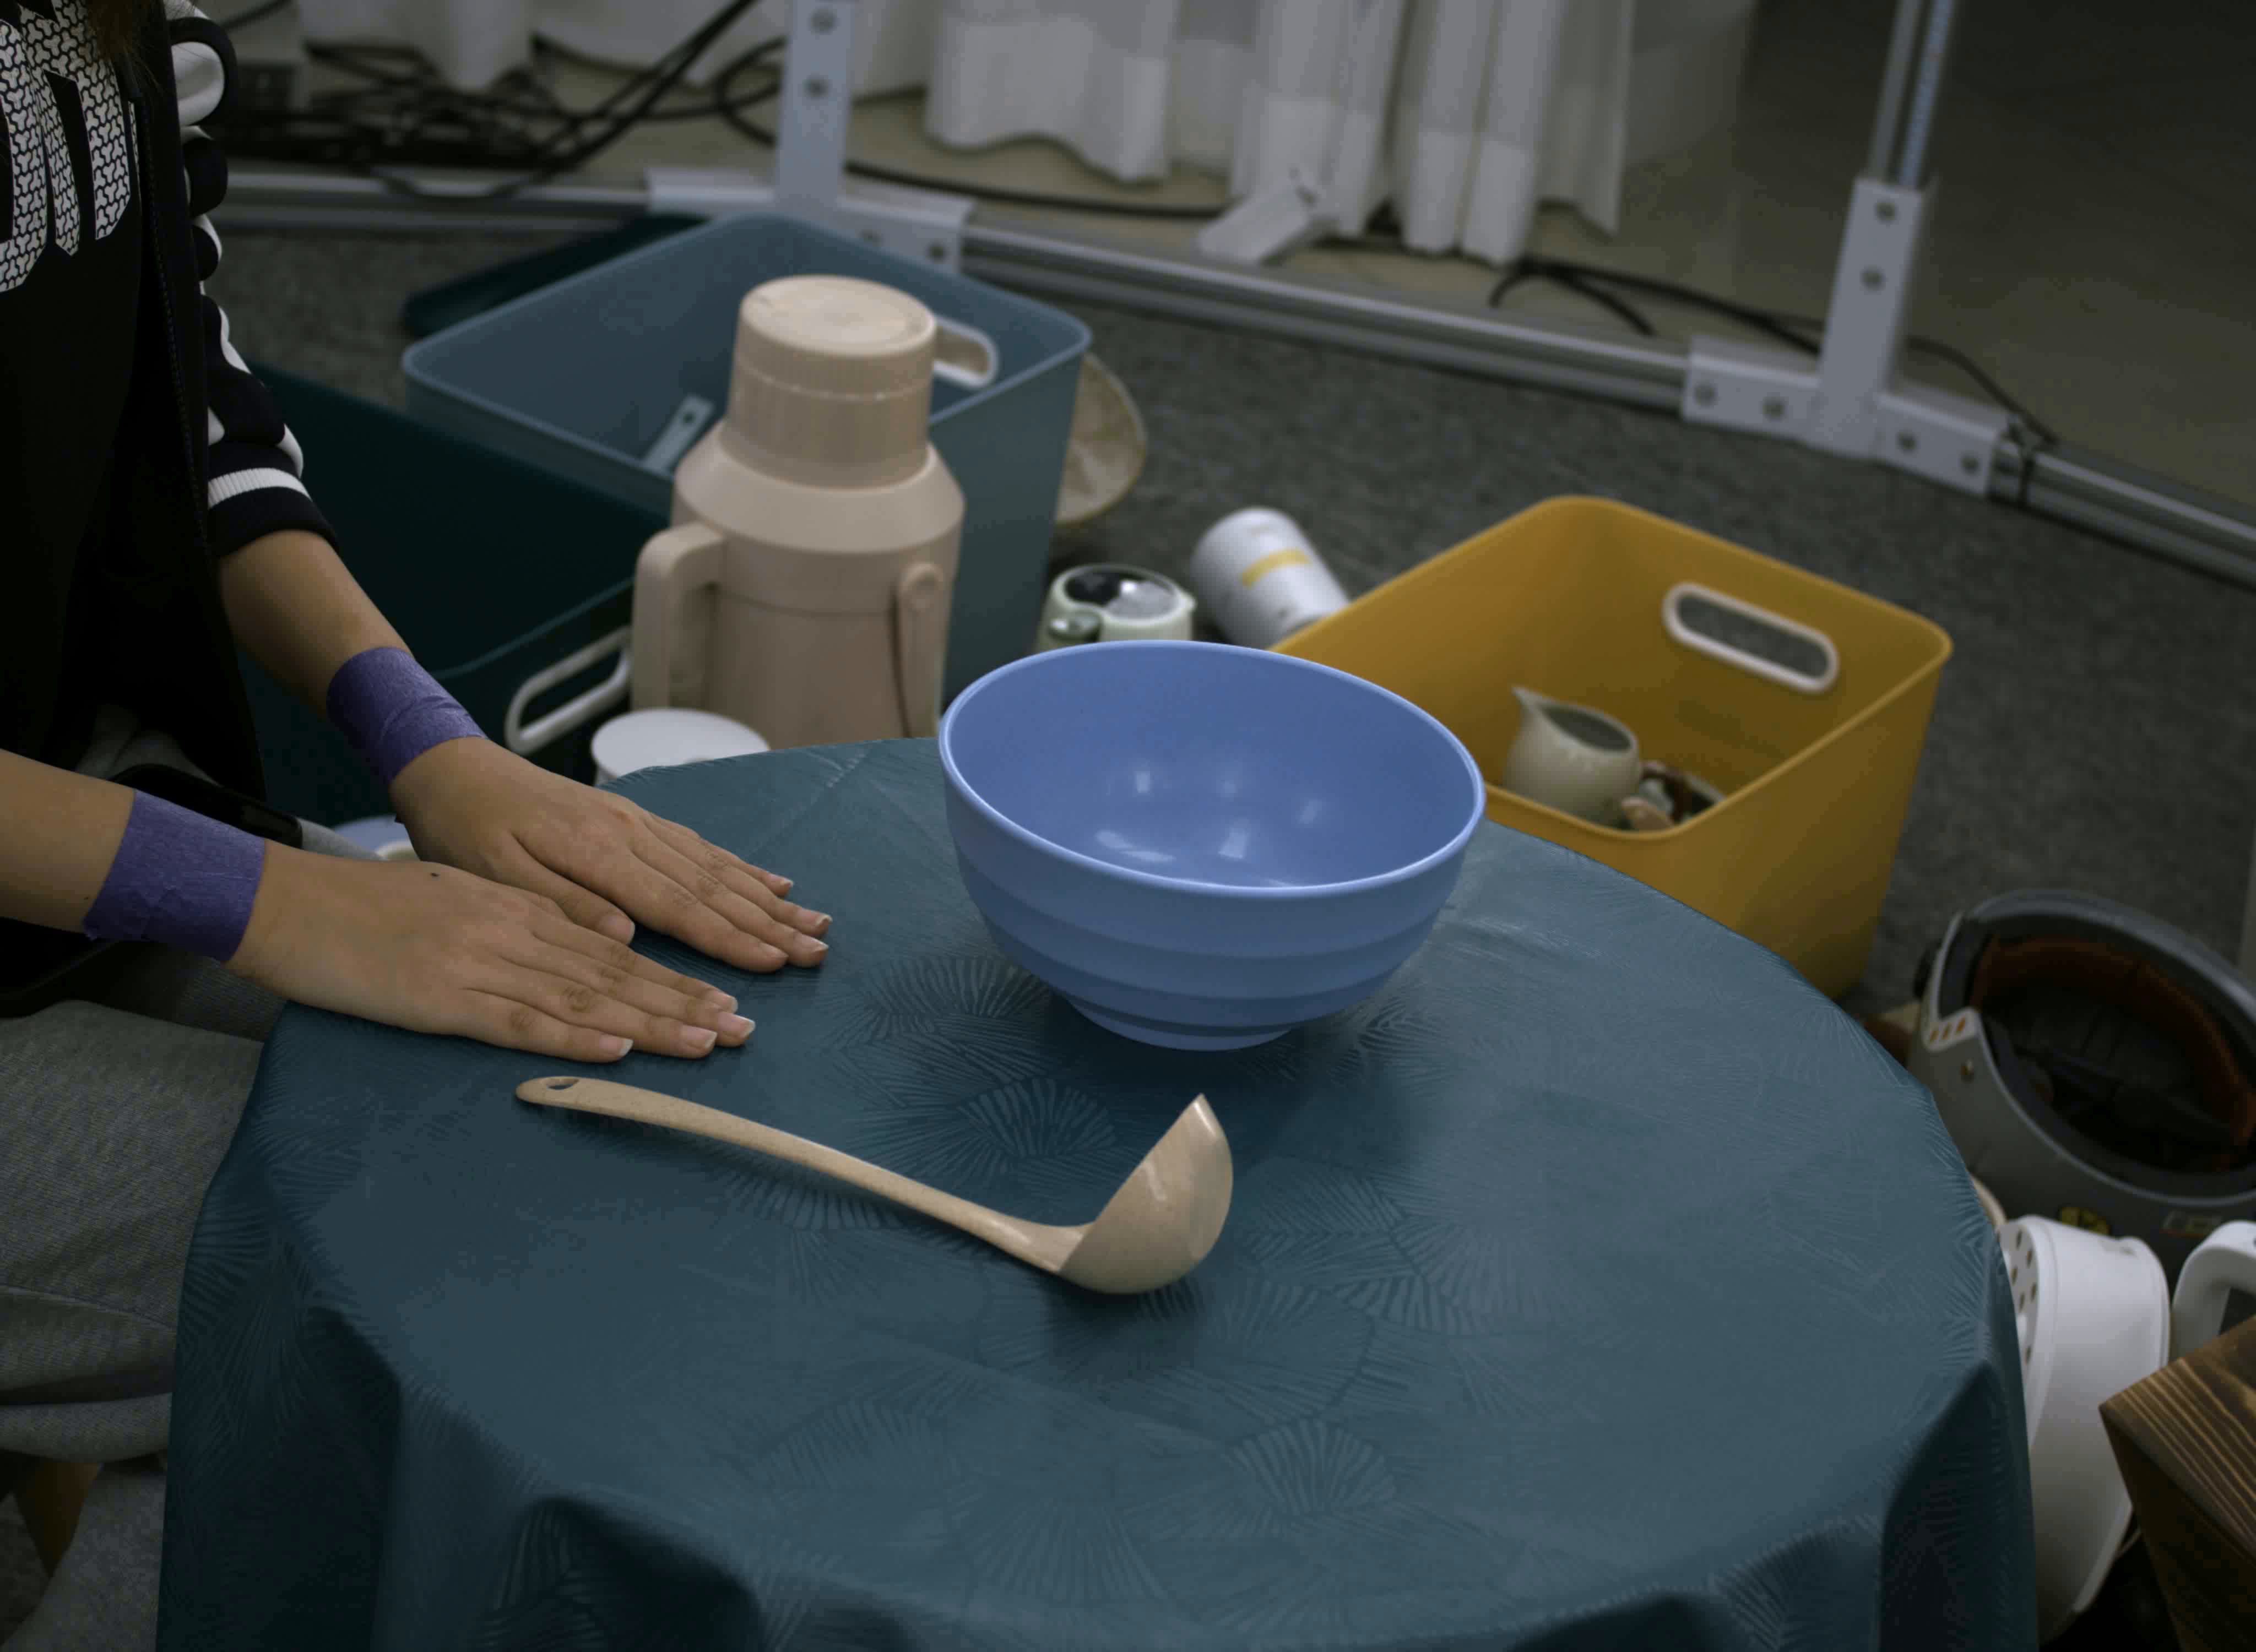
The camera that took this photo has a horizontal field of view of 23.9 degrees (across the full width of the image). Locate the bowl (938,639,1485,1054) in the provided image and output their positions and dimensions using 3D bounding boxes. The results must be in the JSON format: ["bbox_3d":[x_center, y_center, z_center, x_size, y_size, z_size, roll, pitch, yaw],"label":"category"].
[{"bbox_3d":[0.025,0.019,1.912,0.196,0.095,0.198,6,28,-3],"label":"bowl"}]

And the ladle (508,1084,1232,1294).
[{"bbox_3d":[-0.089,0.093,1.763,0.255,0.072,0.072,15,27,17],"label":"ladle"}]
